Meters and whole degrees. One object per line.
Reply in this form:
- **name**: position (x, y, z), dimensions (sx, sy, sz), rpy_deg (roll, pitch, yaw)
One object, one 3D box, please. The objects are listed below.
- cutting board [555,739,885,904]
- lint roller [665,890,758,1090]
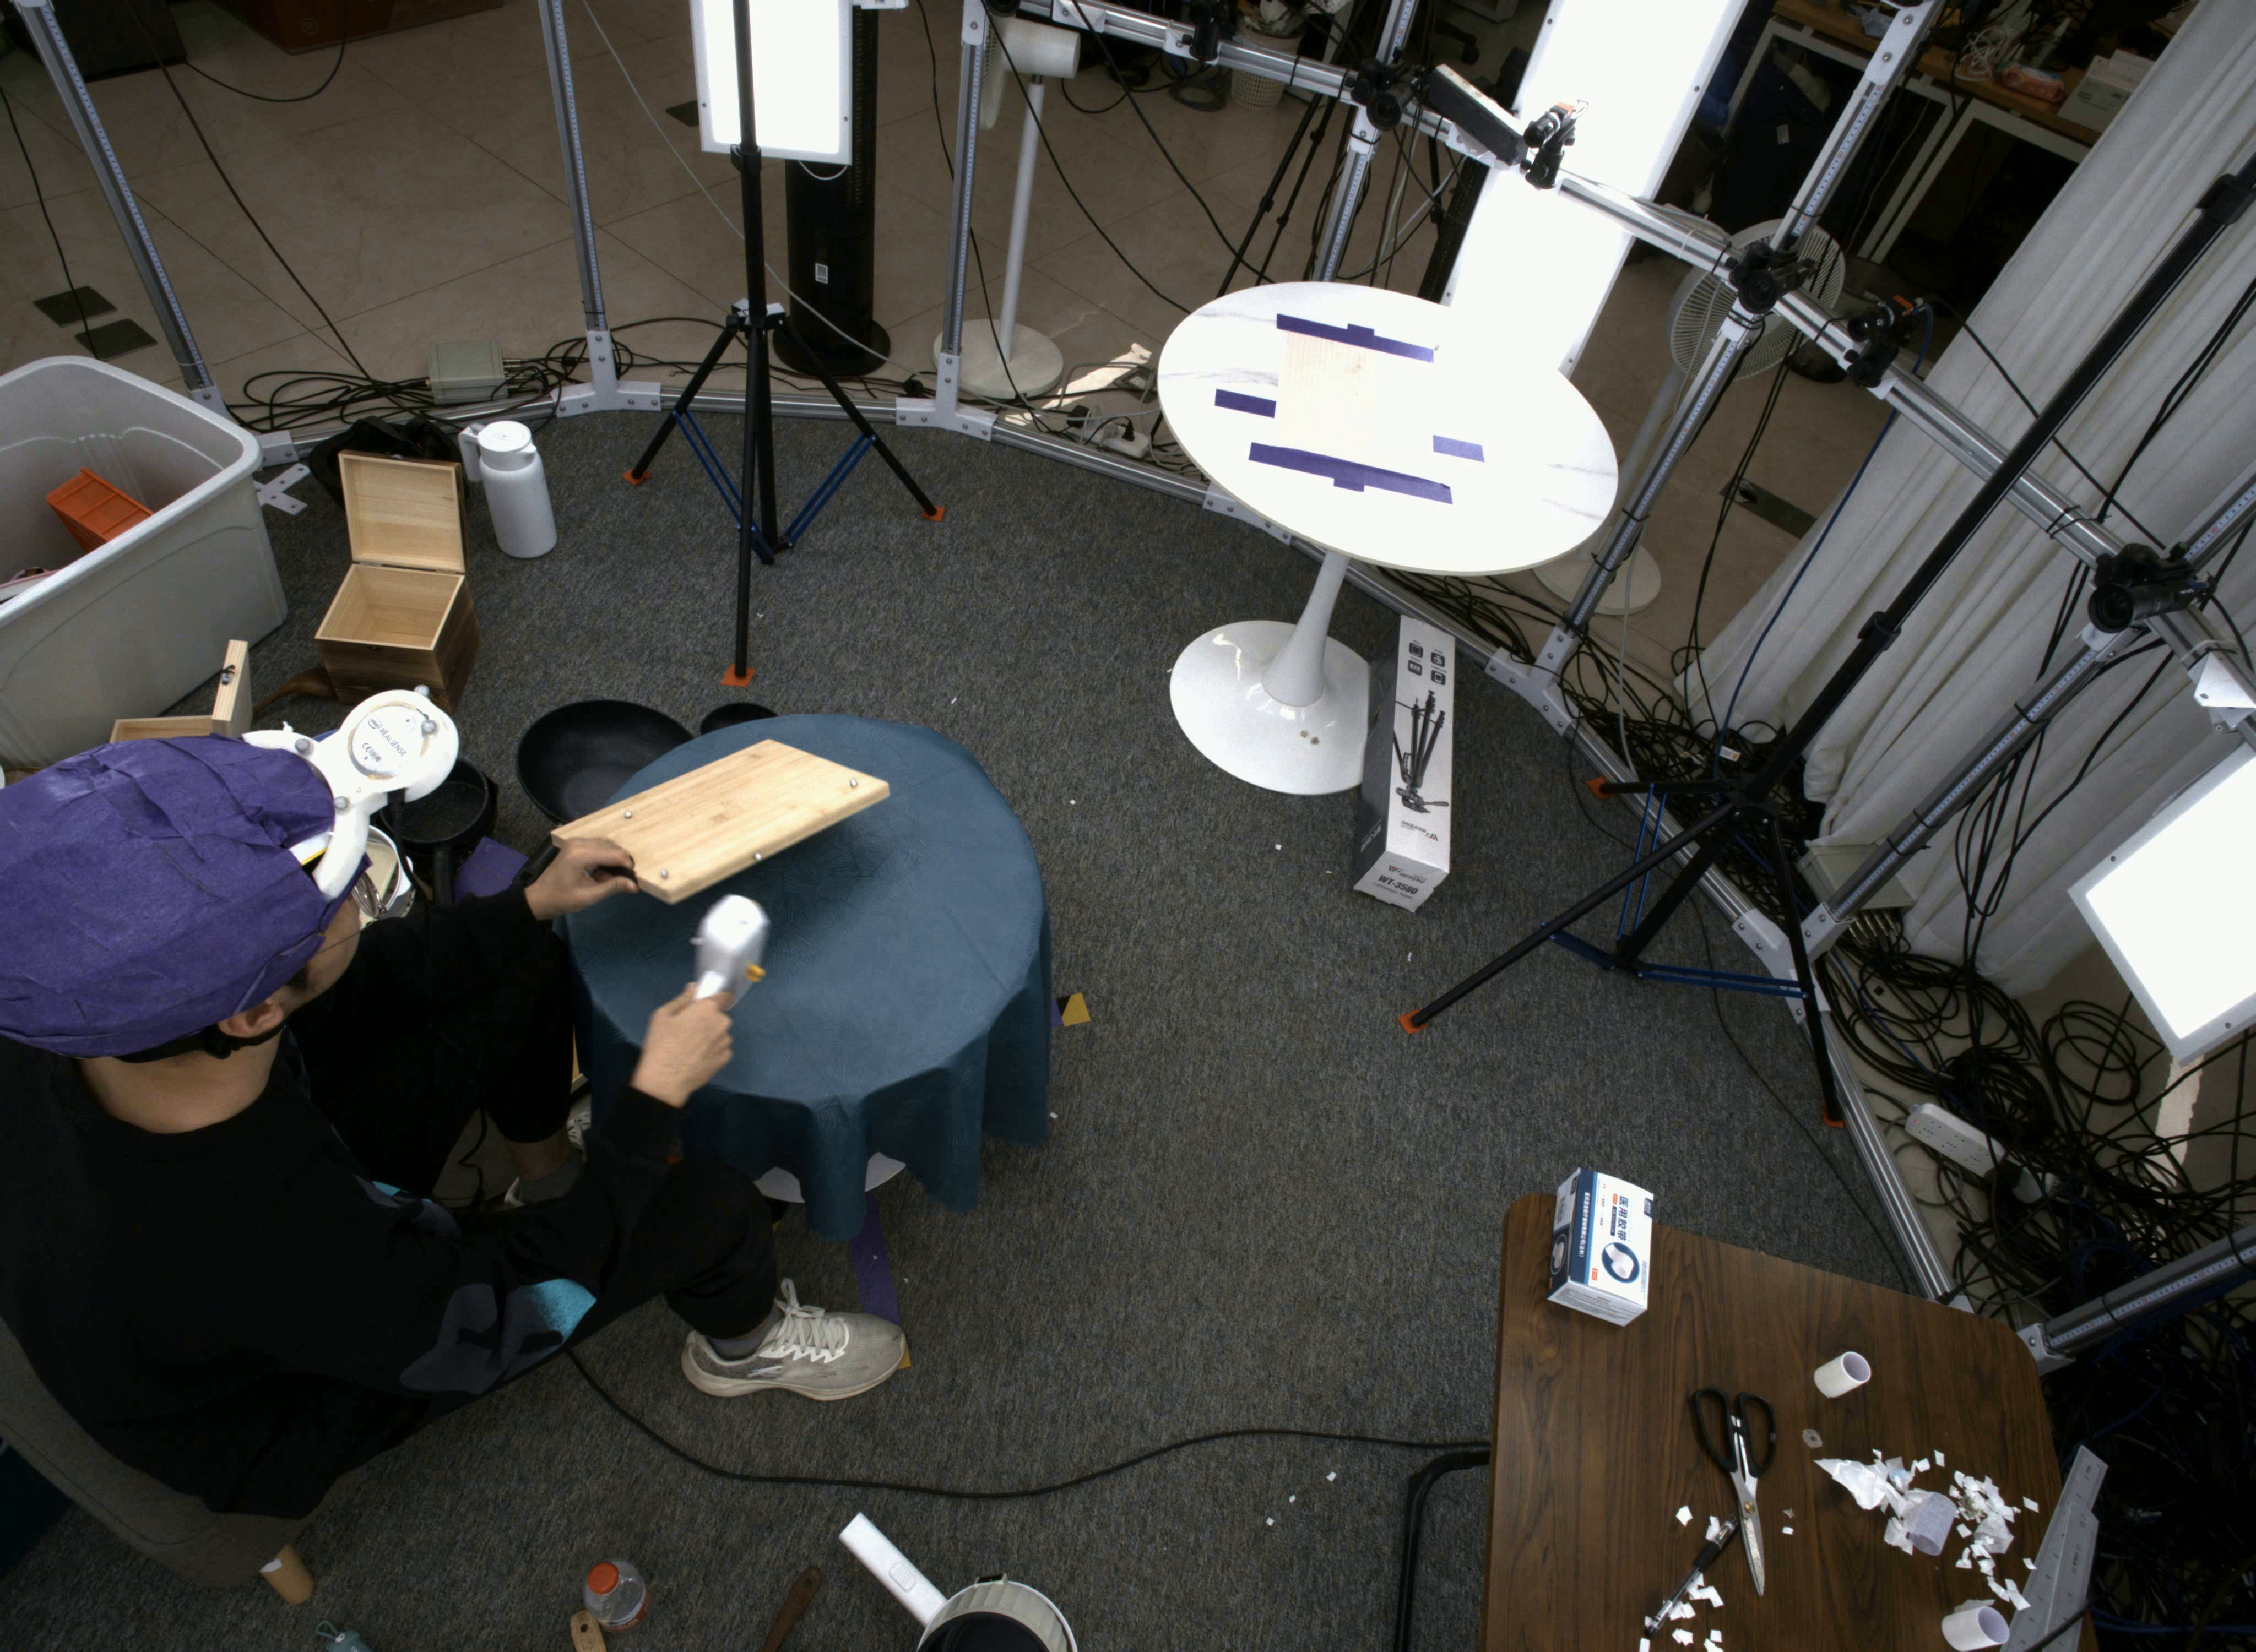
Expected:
- **cutting board**: position (-0.508, -0.017, 1.603), dimensions (0.242, 0.024, 0.350), rpy_deg (18, 32, 31)
- **lint roller**: position (-0.457, 0.183, 1.380), dimensions (0.074, 0.194, 0.191), rpy_deg (27, 58, -4)
